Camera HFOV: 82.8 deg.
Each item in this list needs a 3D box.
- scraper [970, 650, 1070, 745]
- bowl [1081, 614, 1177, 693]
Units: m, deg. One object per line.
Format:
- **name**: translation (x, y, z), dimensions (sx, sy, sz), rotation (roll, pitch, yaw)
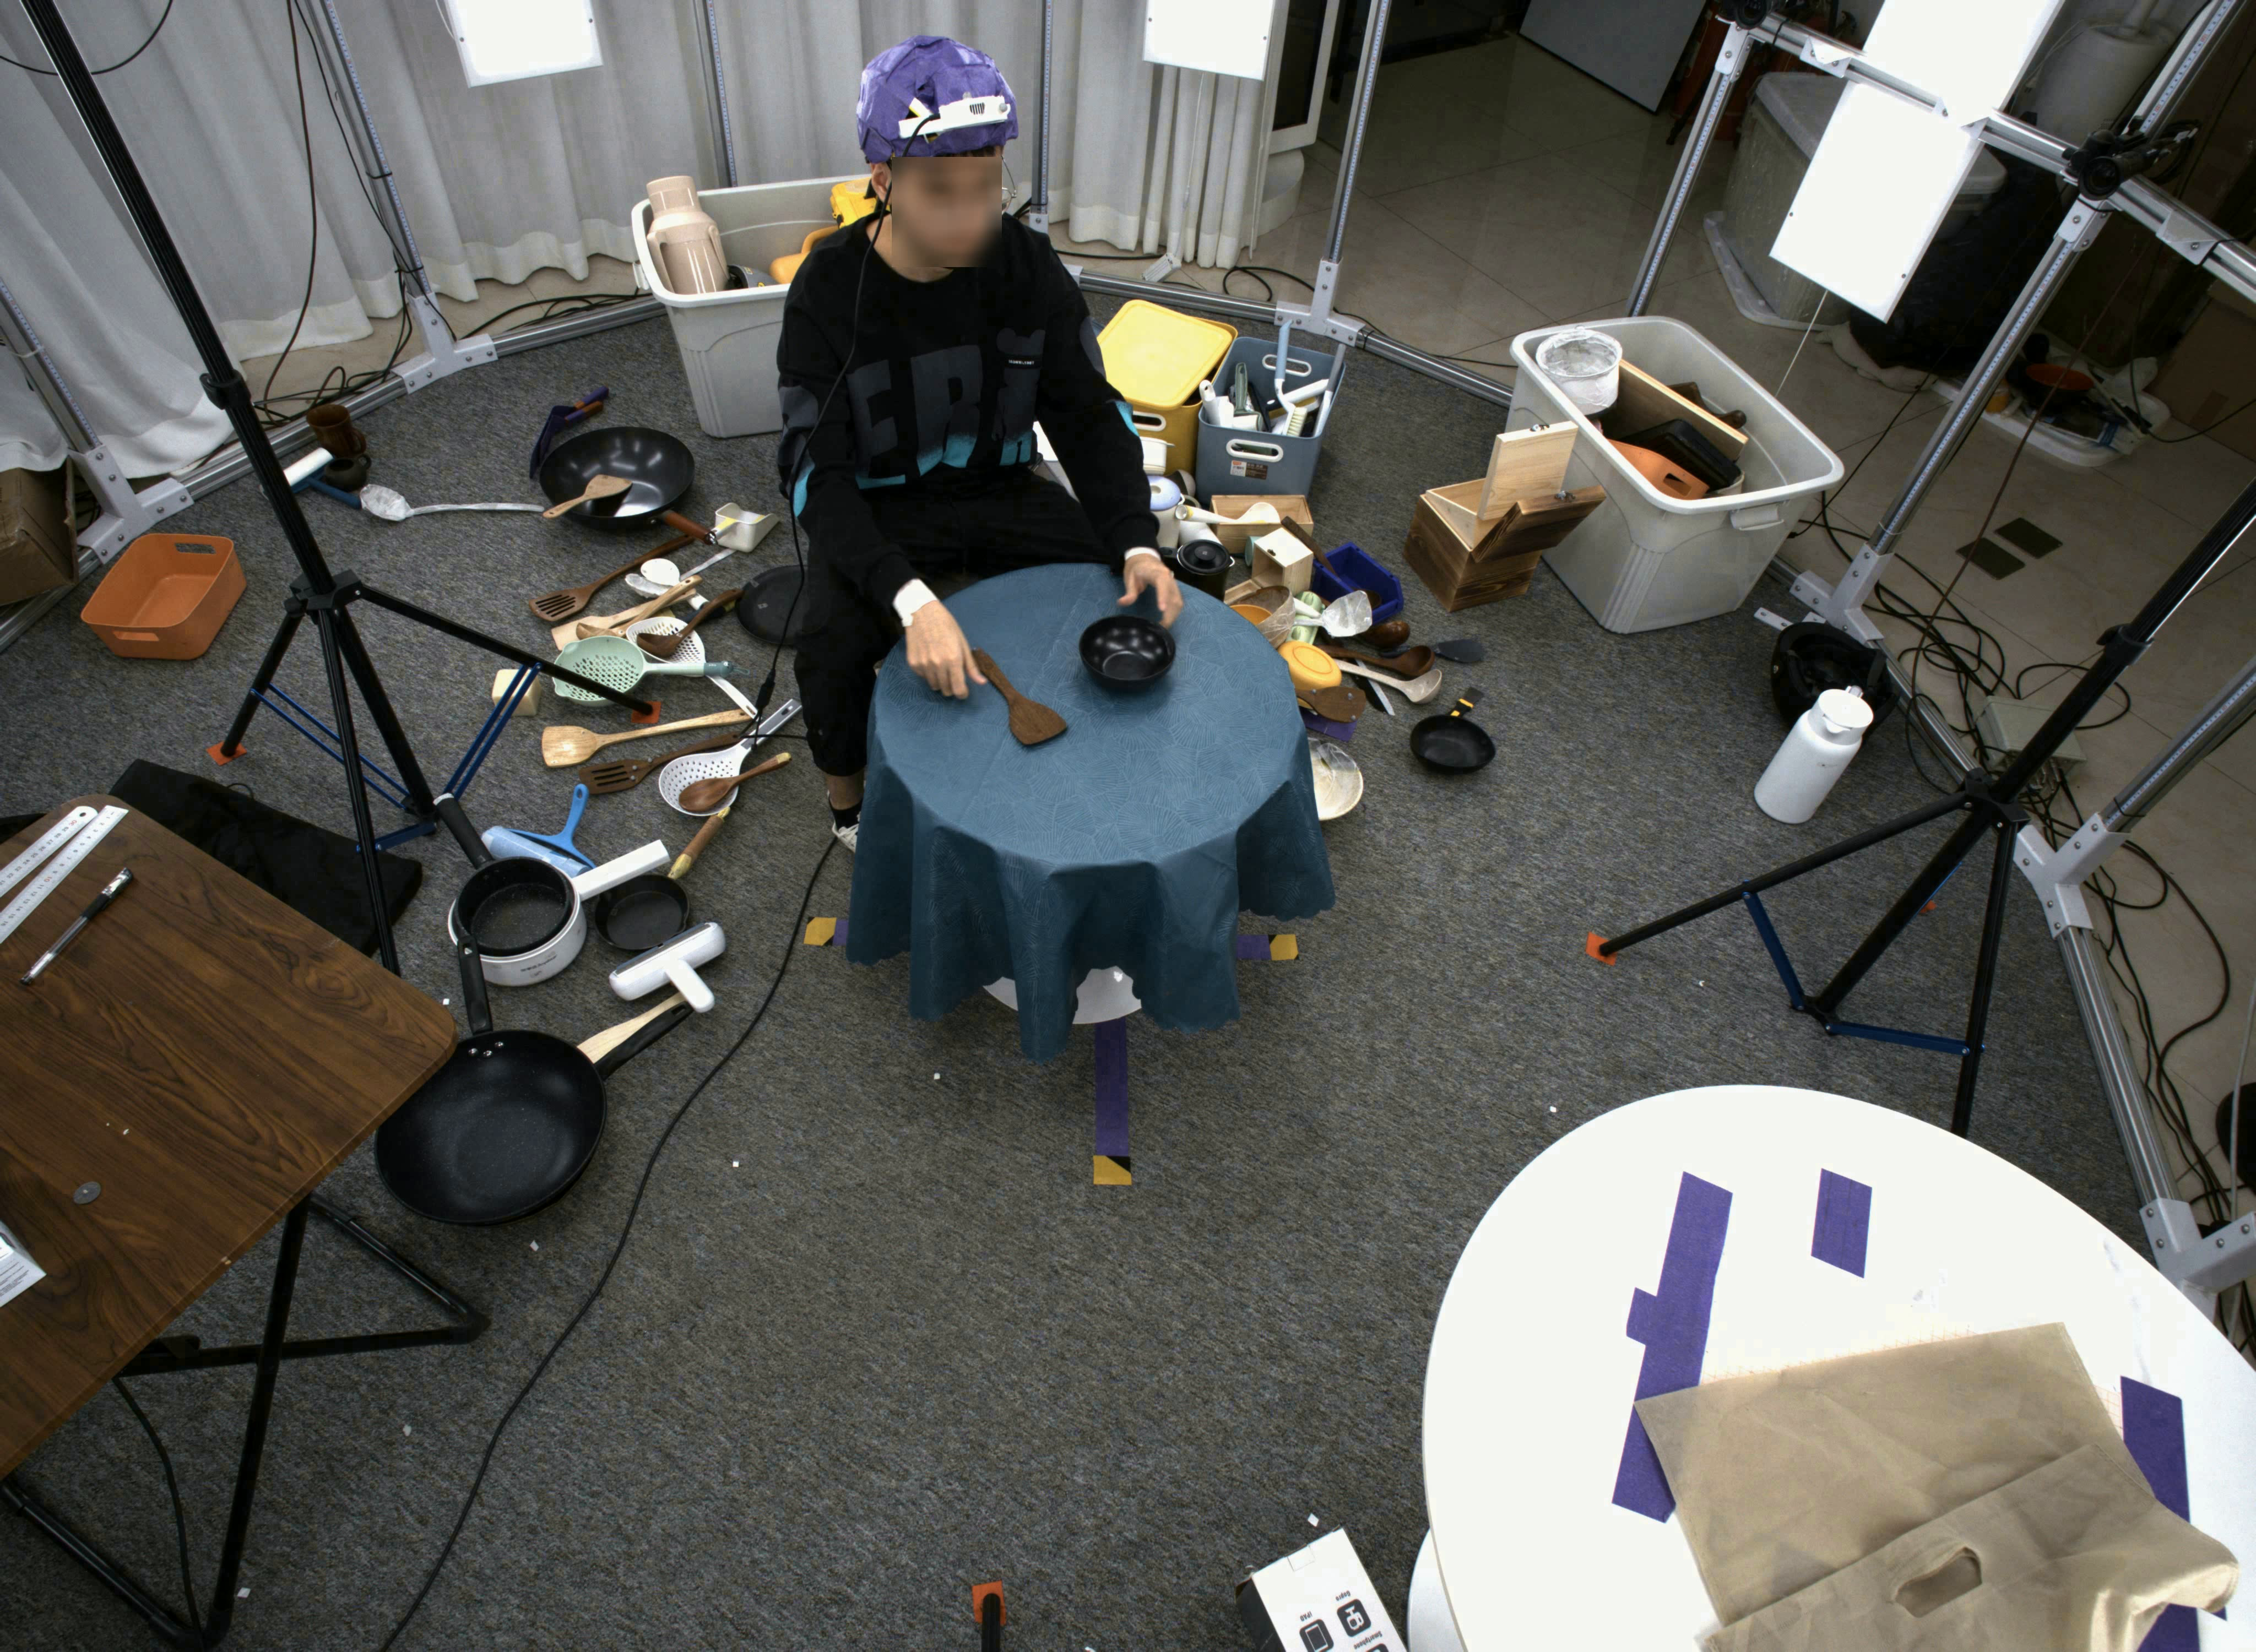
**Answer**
- **scraper**: translation (-0.165, -0.187, 1.831), dimensions (0.076, 0.010, 0.215), rotation (-24, 54, -24)
- **bowl**: translation (0.001, -0.242, 1.861), dimensions (0.140, 0.048, 0.143), rotation (2, 53, -2)
